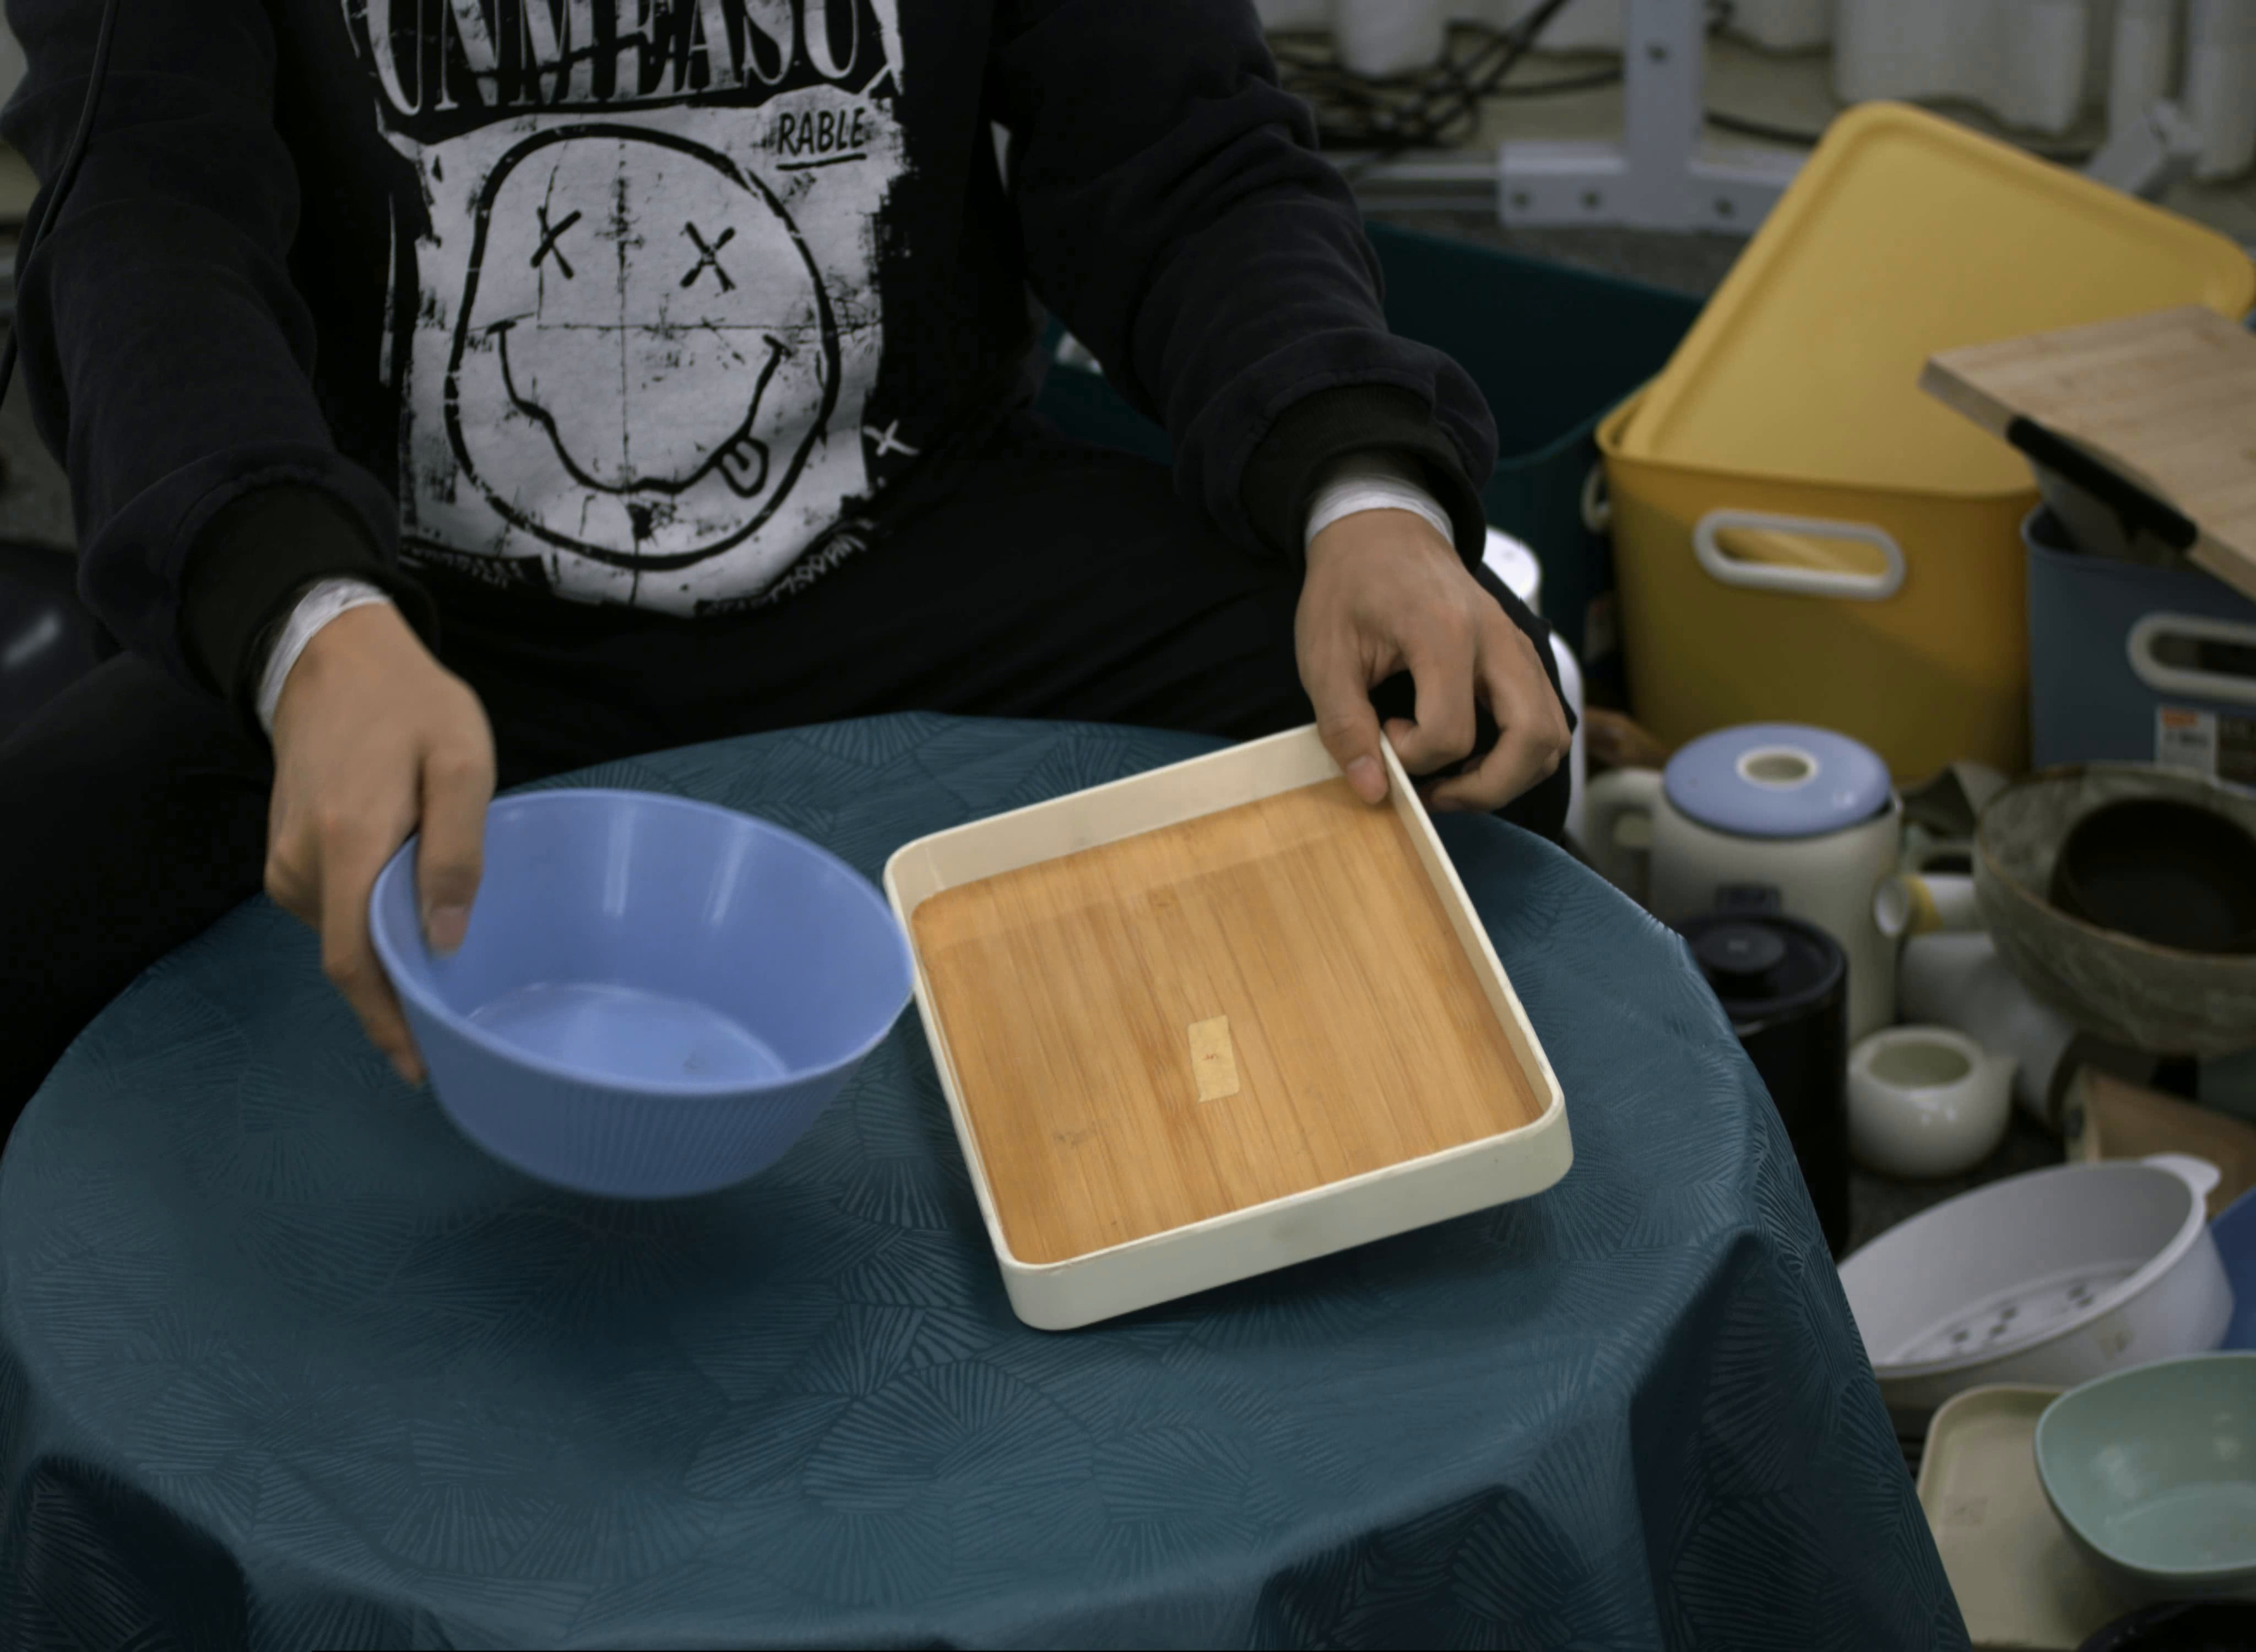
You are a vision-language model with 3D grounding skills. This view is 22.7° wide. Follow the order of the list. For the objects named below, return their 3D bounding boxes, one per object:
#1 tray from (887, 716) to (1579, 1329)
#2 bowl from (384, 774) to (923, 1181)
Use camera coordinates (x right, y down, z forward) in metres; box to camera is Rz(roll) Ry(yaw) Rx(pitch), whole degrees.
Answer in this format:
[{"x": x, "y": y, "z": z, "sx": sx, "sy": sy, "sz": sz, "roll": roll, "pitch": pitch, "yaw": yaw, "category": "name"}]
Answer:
[{"x": 0.029, "y": 0.061, "z": 1.913, "sx": 0.191, "sy": 0.027, "sz": 0.304, "roll": -16, "pitch": 29, "yaw": -3, "category": "tray"}, {"x": -0.157, "y": 0.056, "z": 1.815, "sx": 0.175, "sy": 0.069, "sz": 0.179, "roll": 11, "pitch": 29, "yaw": -5, "category": "bowl"}]
